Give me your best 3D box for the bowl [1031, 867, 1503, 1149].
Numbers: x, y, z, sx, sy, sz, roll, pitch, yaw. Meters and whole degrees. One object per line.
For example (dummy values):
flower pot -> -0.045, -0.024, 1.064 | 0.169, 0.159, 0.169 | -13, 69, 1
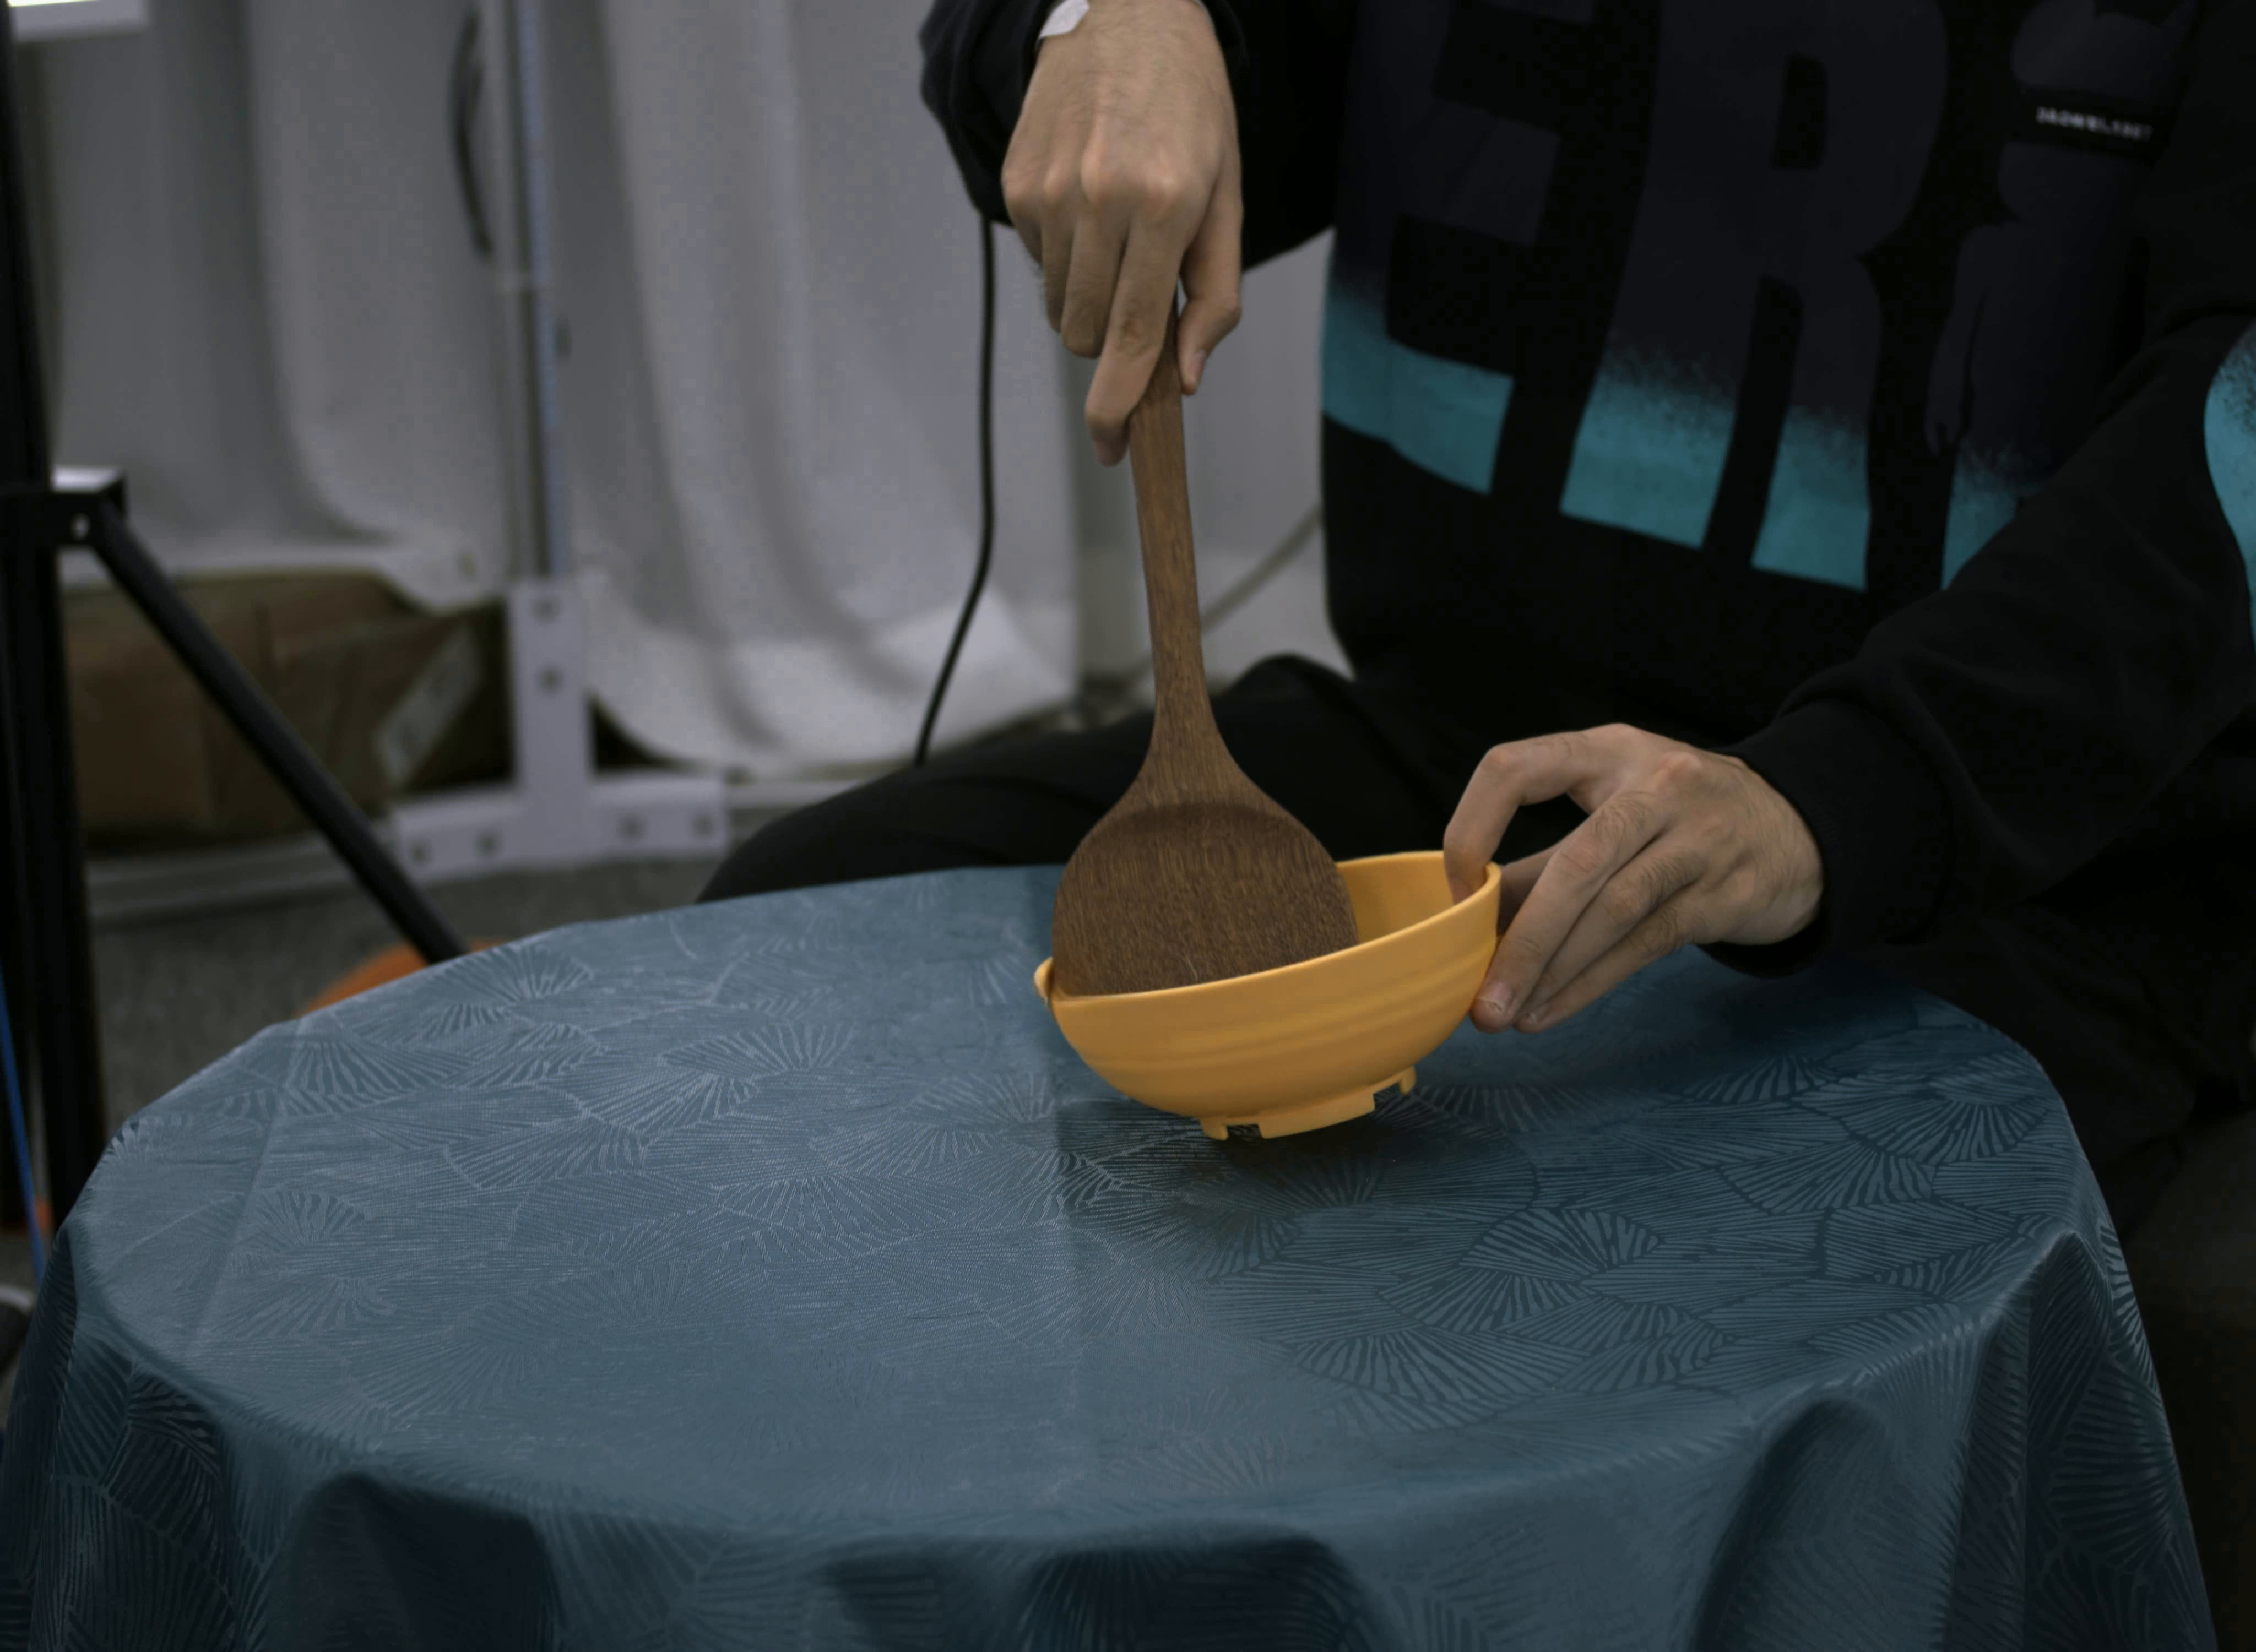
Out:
bowl -> 0.047, 0.060, 1.597 | 0.145, 0.060, 0.146 | -12, 9, 0

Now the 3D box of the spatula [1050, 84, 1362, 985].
spatula -> 0.012, -0.092, 1.704 | 0.095, 0.015, 0.391 | -5, 56, 0
